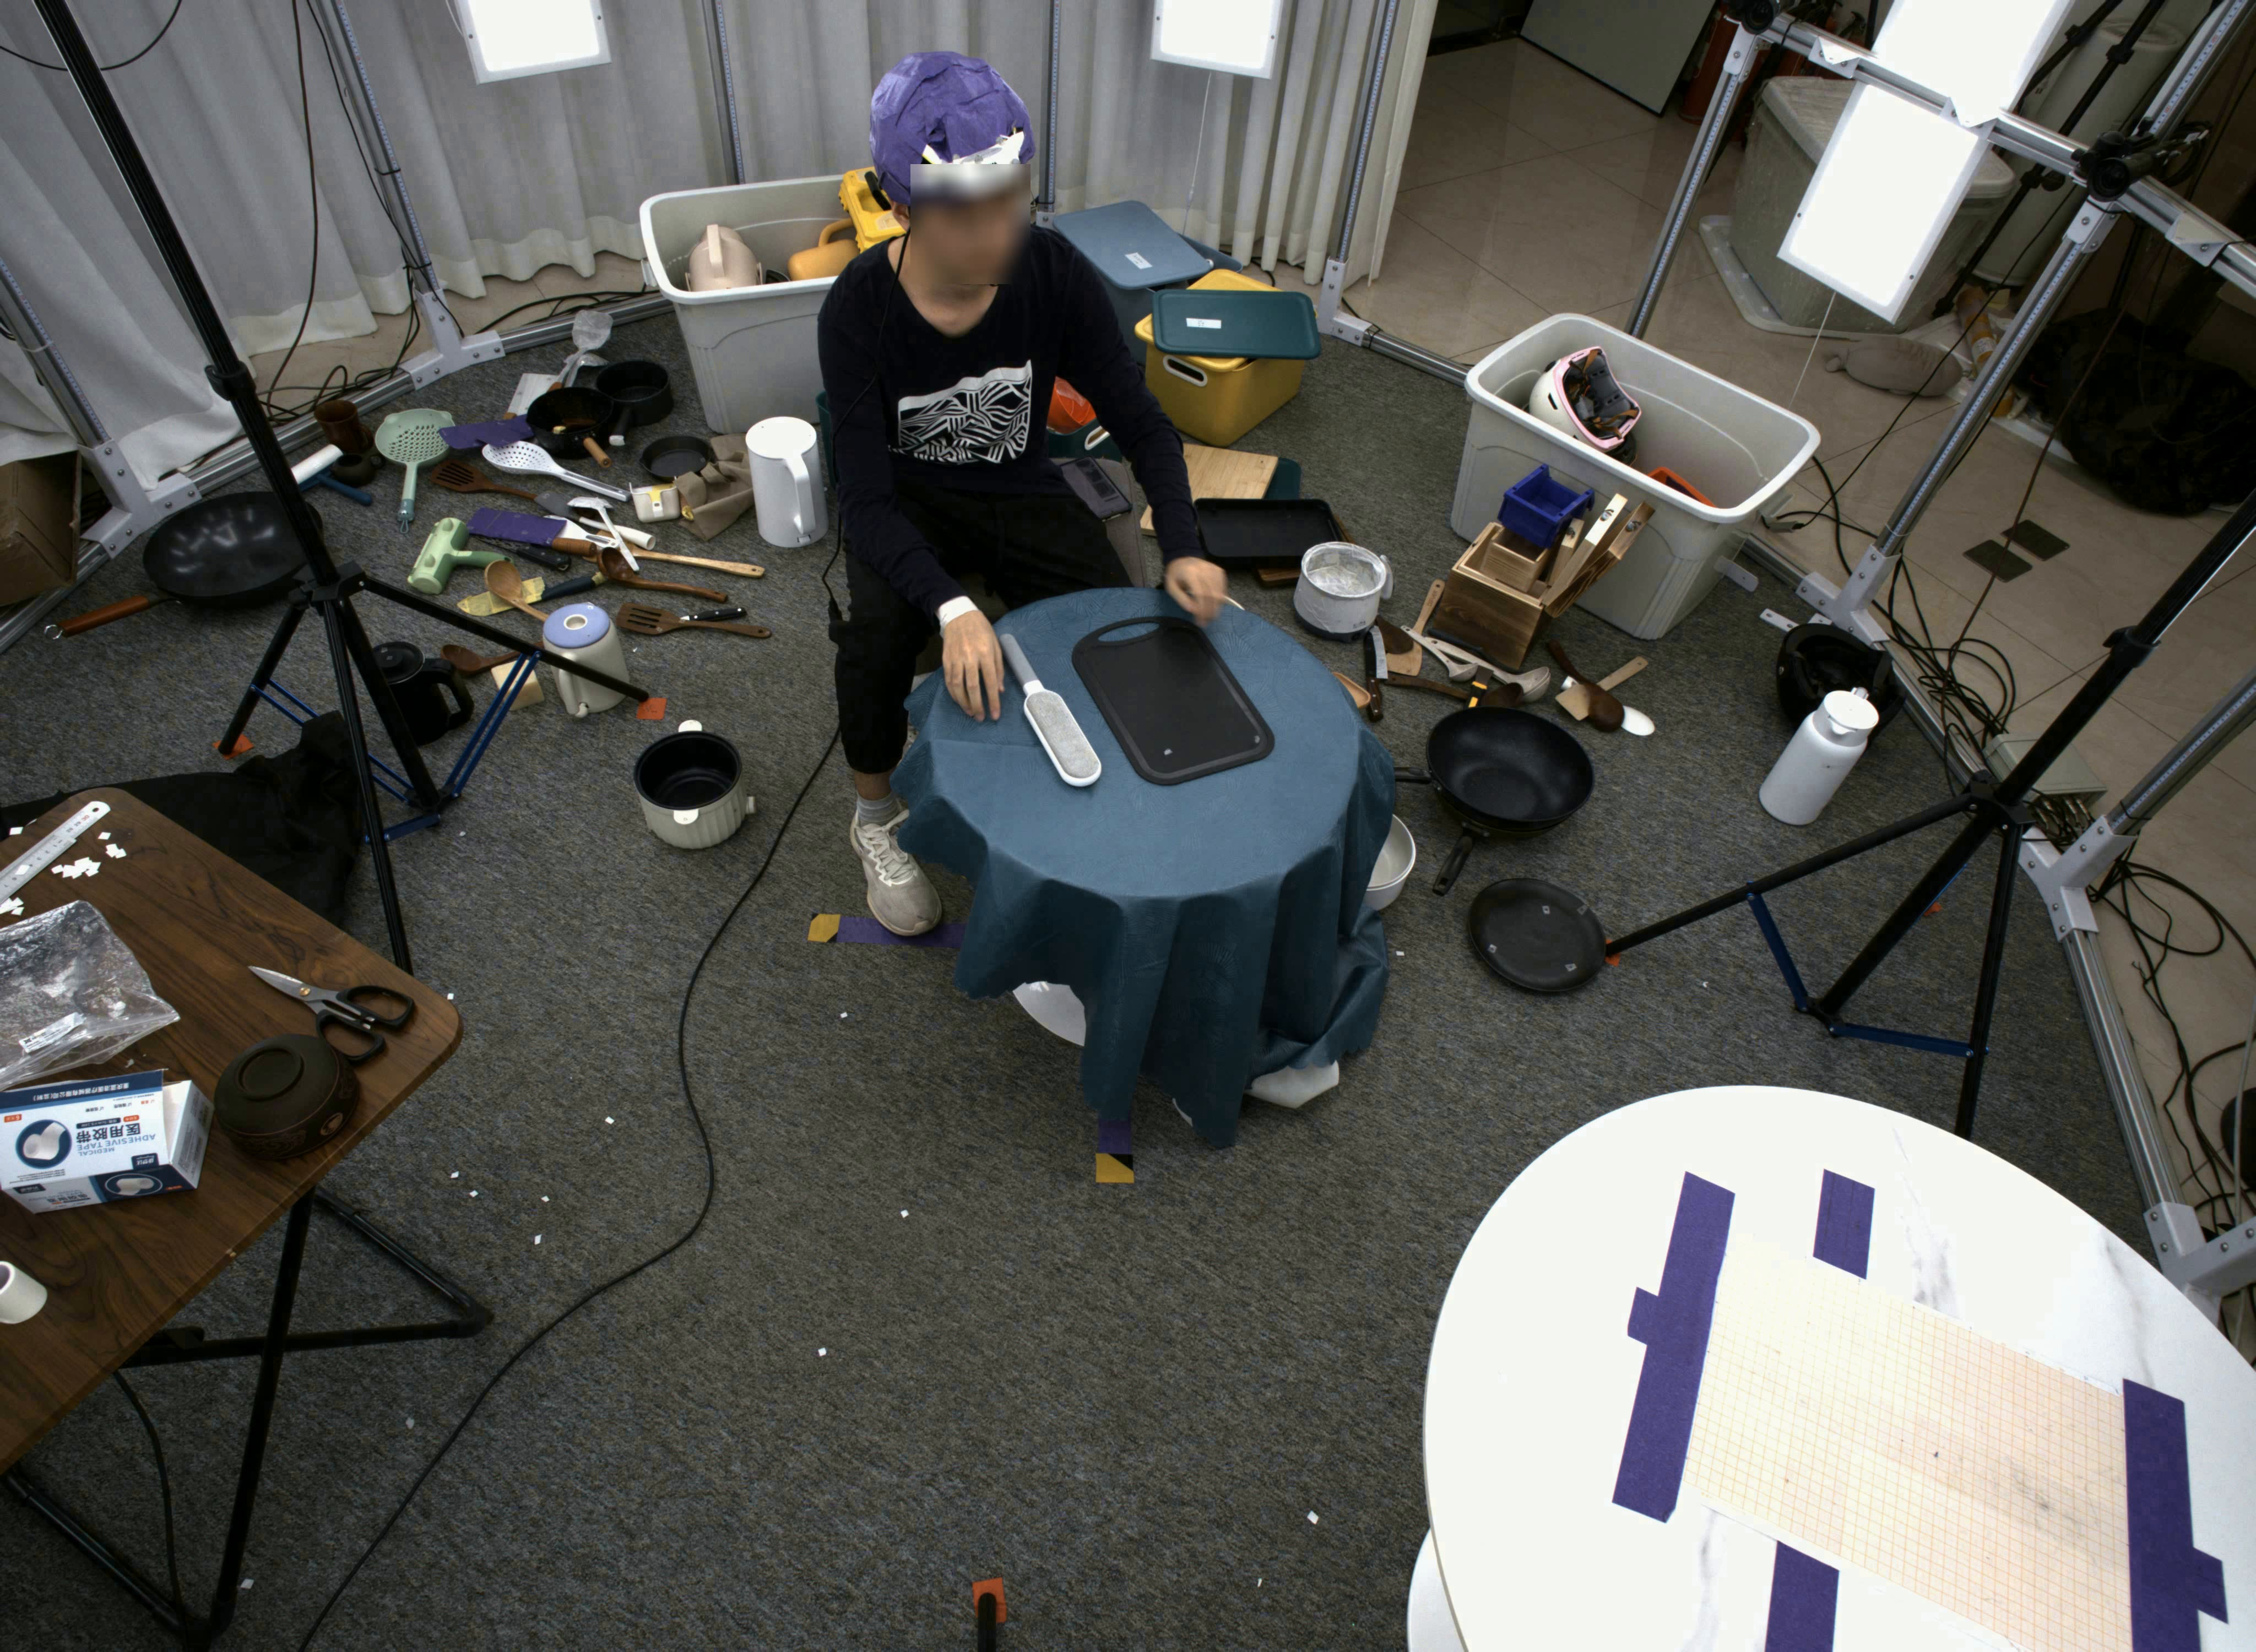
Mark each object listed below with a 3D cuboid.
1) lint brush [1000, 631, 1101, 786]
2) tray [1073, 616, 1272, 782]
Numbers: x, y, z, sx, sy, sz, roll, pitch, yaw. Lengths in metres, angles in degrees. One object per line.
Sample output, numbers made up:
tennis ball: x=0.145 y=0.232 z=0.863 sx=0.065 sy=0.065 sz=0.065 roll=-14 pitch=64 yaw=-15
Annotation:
lint brush: x=-0.115 y=-0.169 z=1.789 sx=0.060 sy=0.020 sz=0.316 roll=-20 pitch=53 yaw=-13
tray: x=0.056 y=-0.193 z=1.834 sx=0.211 sy=0.009 sz=0.333 roll=-15 pitch=52 yaw=-17
